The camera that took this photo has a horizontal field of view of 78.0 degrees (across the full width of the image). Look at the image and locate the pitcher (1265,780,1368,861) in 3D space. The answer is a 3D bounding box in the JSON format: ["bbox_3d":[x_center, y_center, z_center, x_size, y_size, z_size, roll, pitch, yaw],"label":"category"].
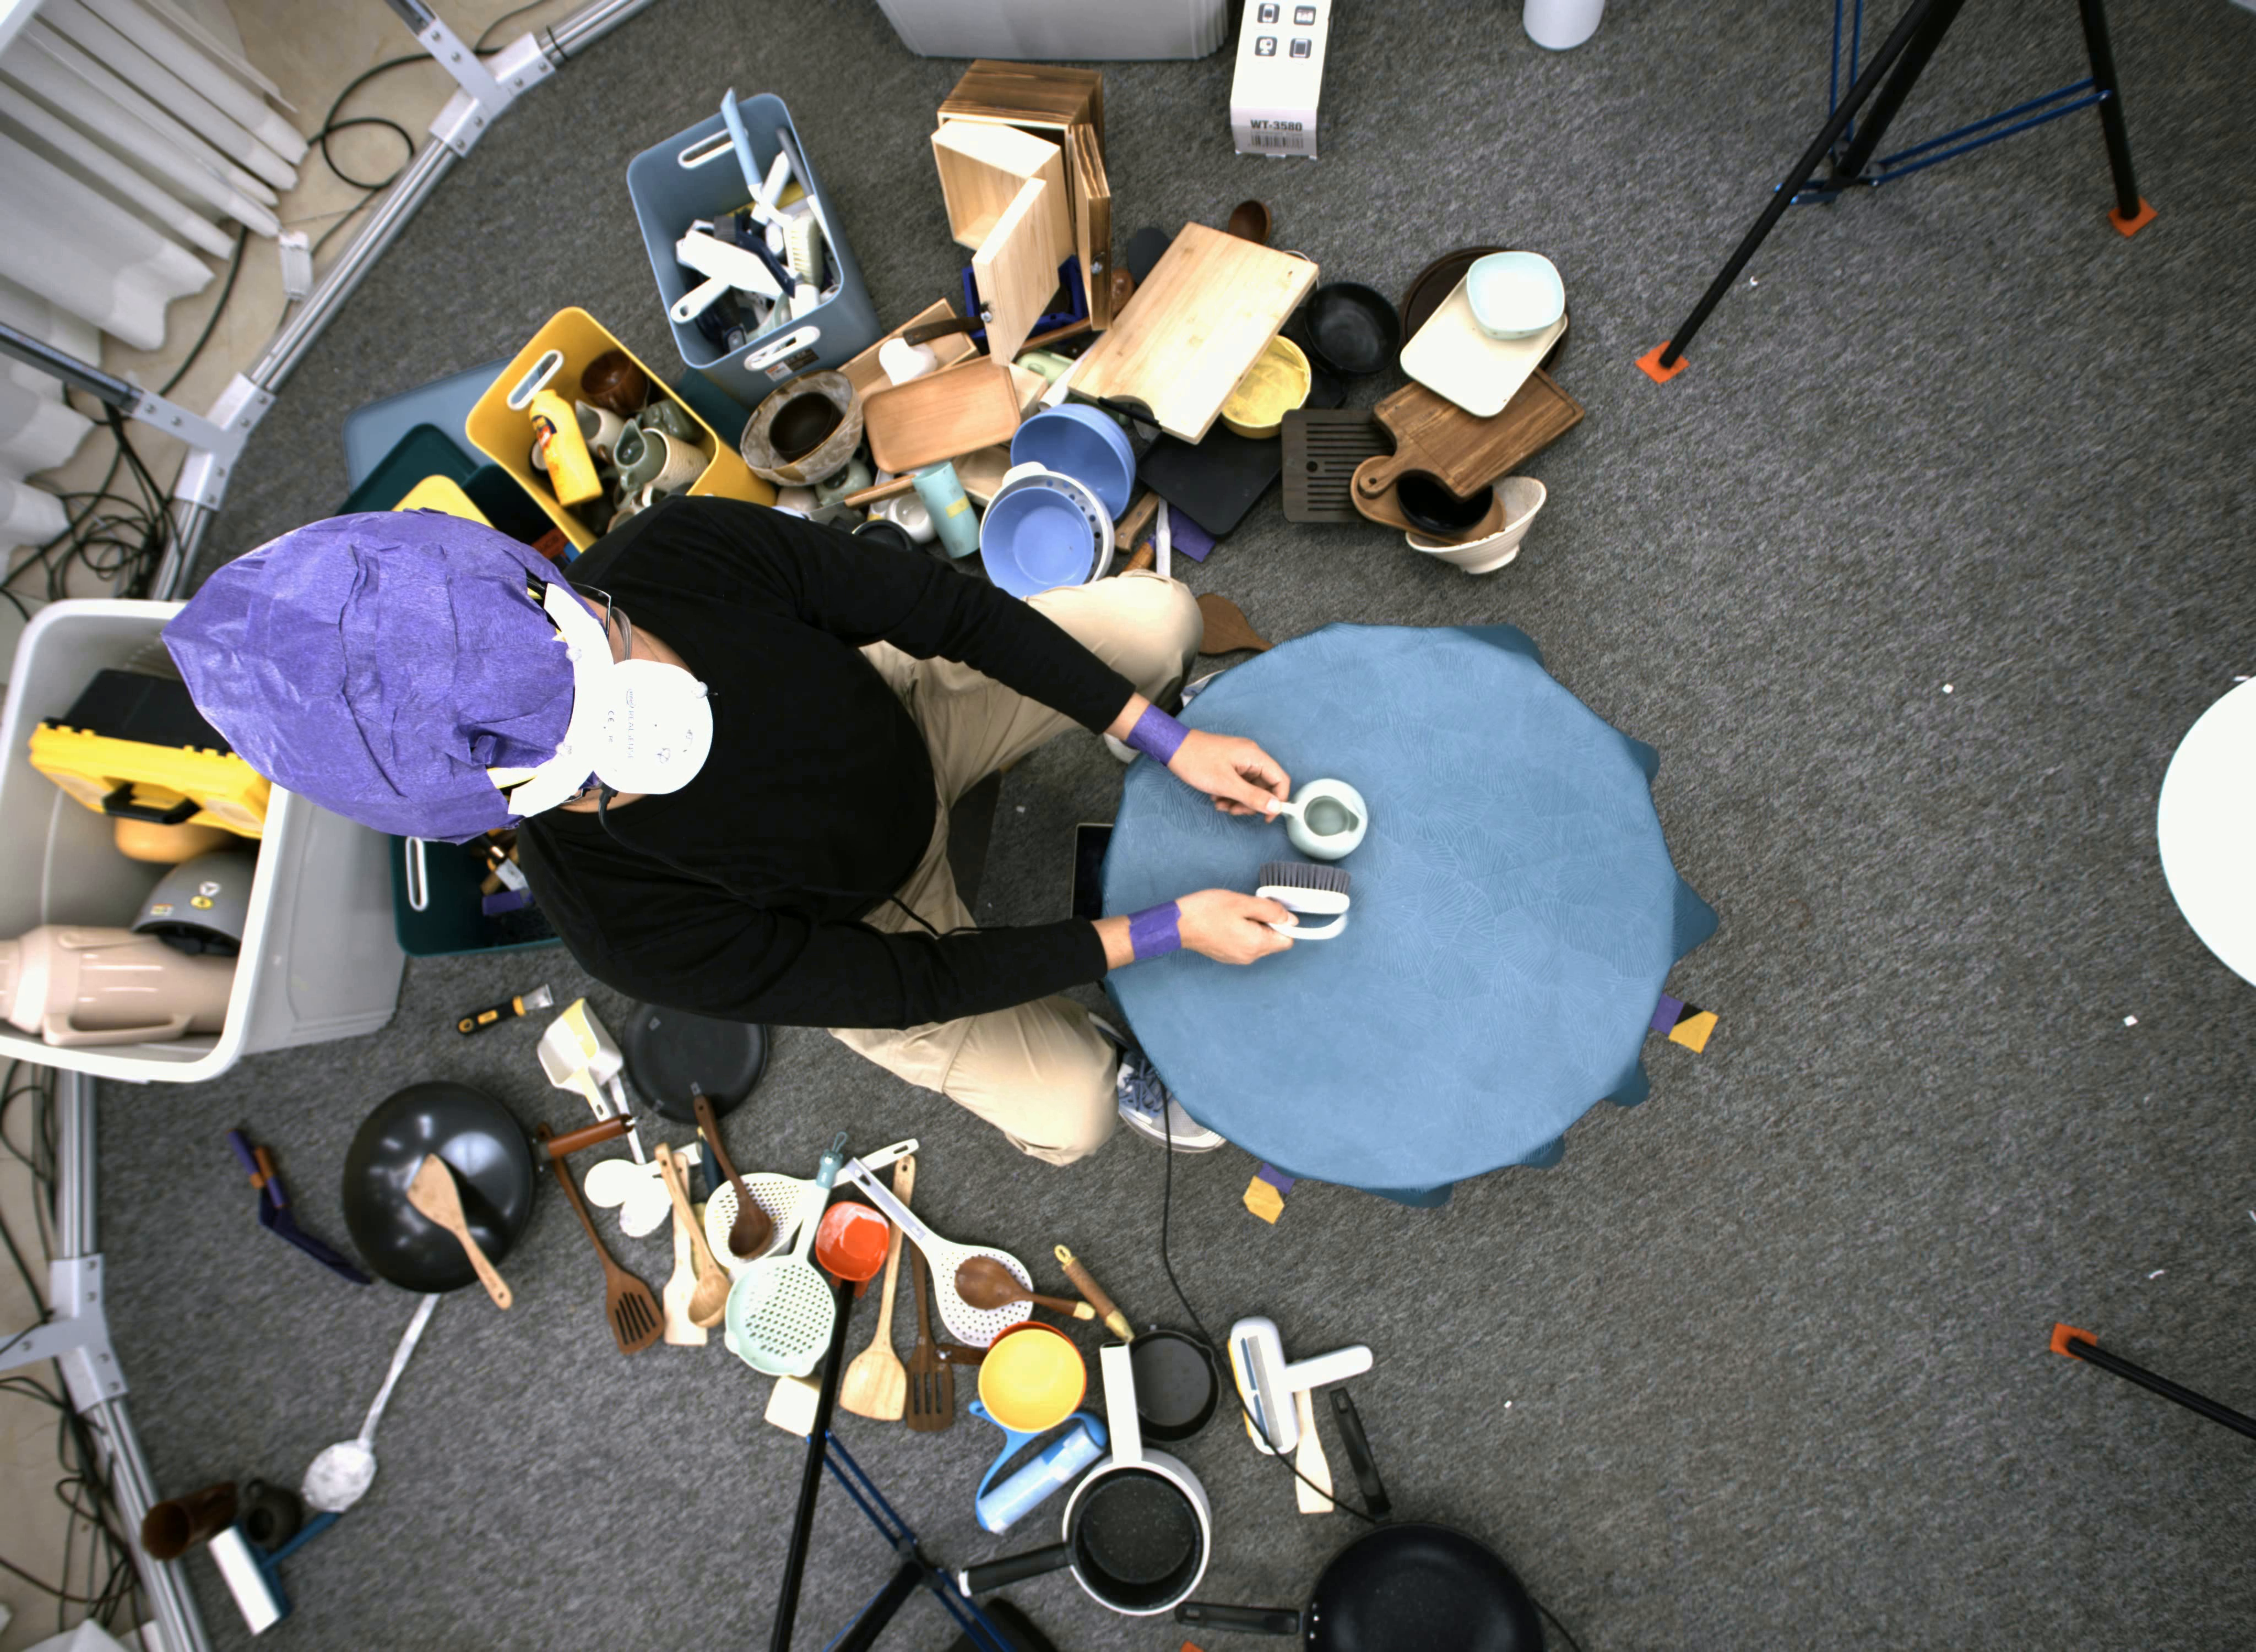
[{"bbox_3d":[0.197,-0.010,1.449,0.108,0.060,0.086,10,87,14],"label":"pitcher"}]

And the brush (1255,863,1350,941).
[{"bbox_3d":[0.180,0.082,1.436,0.099,0.051,0.071,7,69,-3],"label":"brush"}]
